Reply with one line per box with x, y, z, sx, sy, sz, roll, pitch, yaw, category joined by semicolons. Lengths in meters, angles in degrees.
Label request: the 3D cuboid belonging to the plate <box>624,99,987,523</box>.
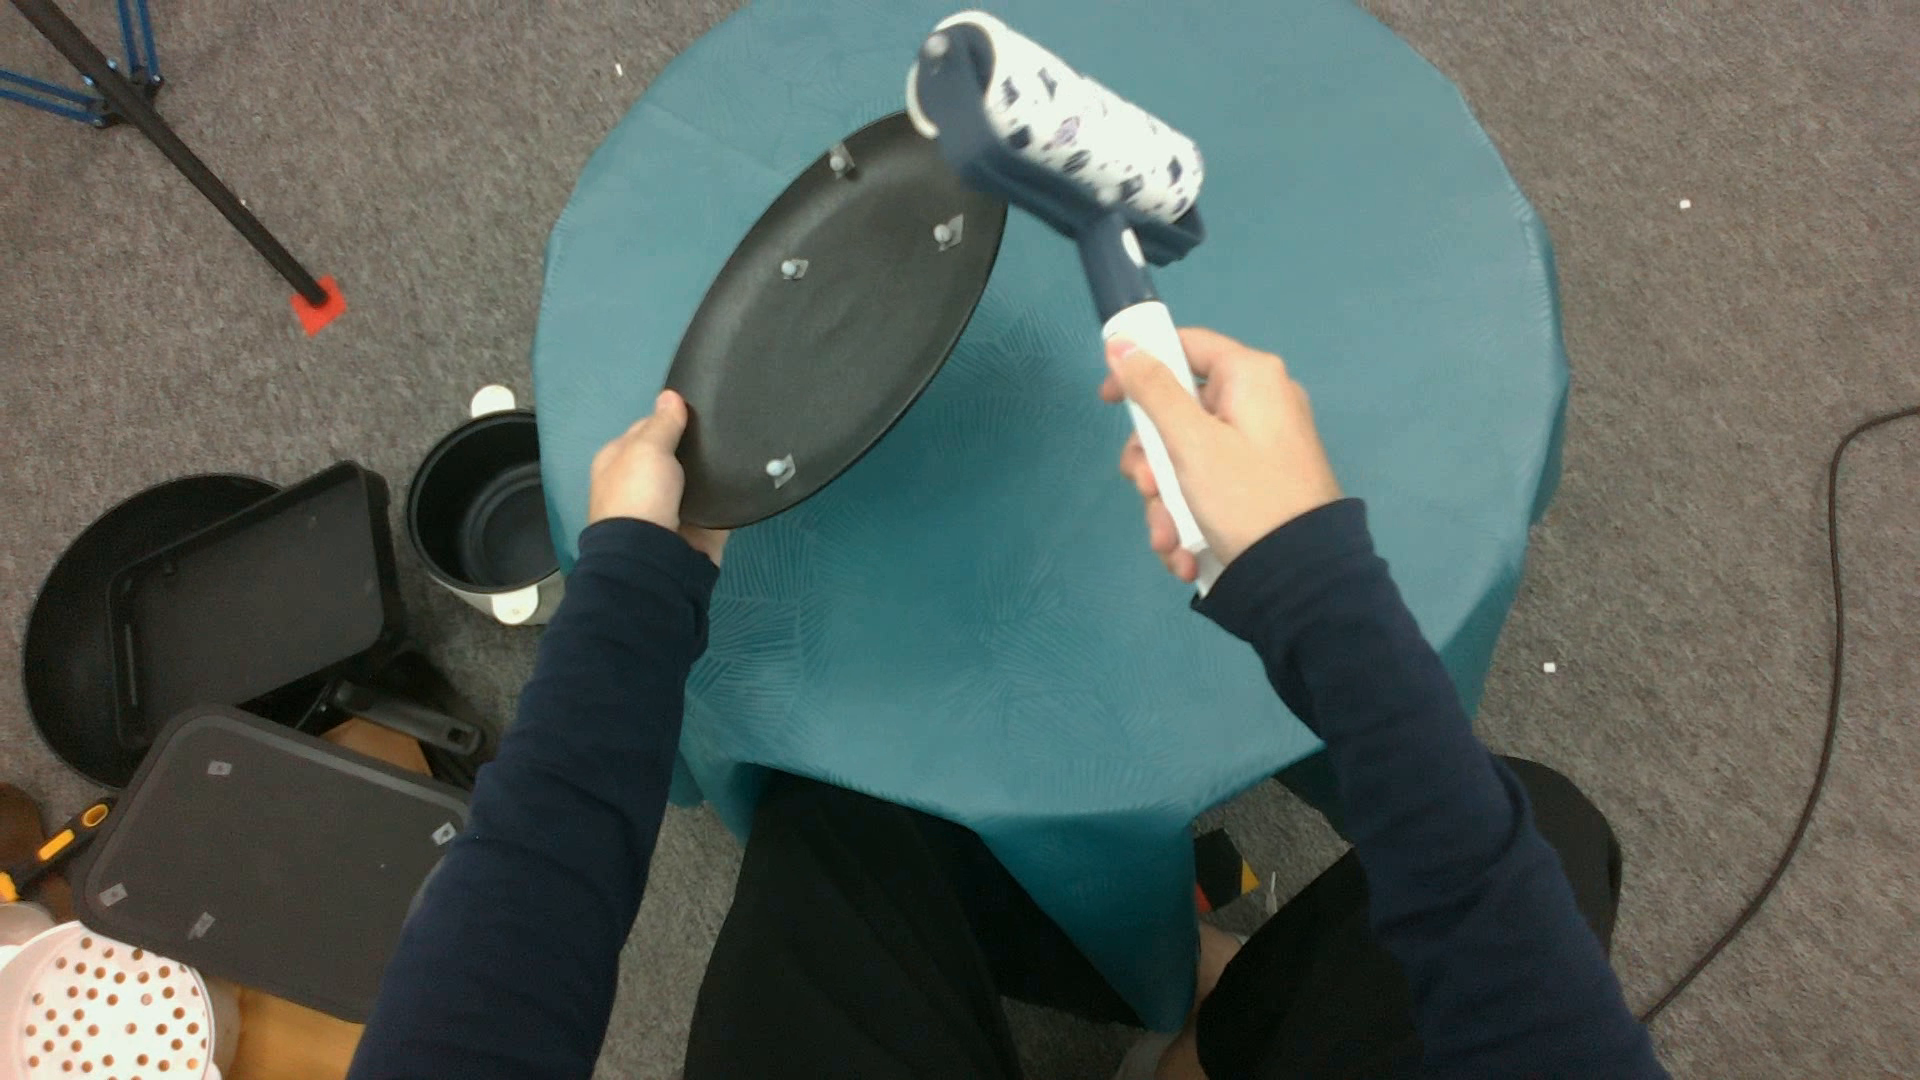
-0.077;-0.113;0.677;0.243;0.023;0.245;-25;47;31;plate

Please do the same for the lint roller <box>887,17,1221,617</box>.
0.066;-0.088;0.578;0.050;0.176;0.247;-29;71;31;lint roller
